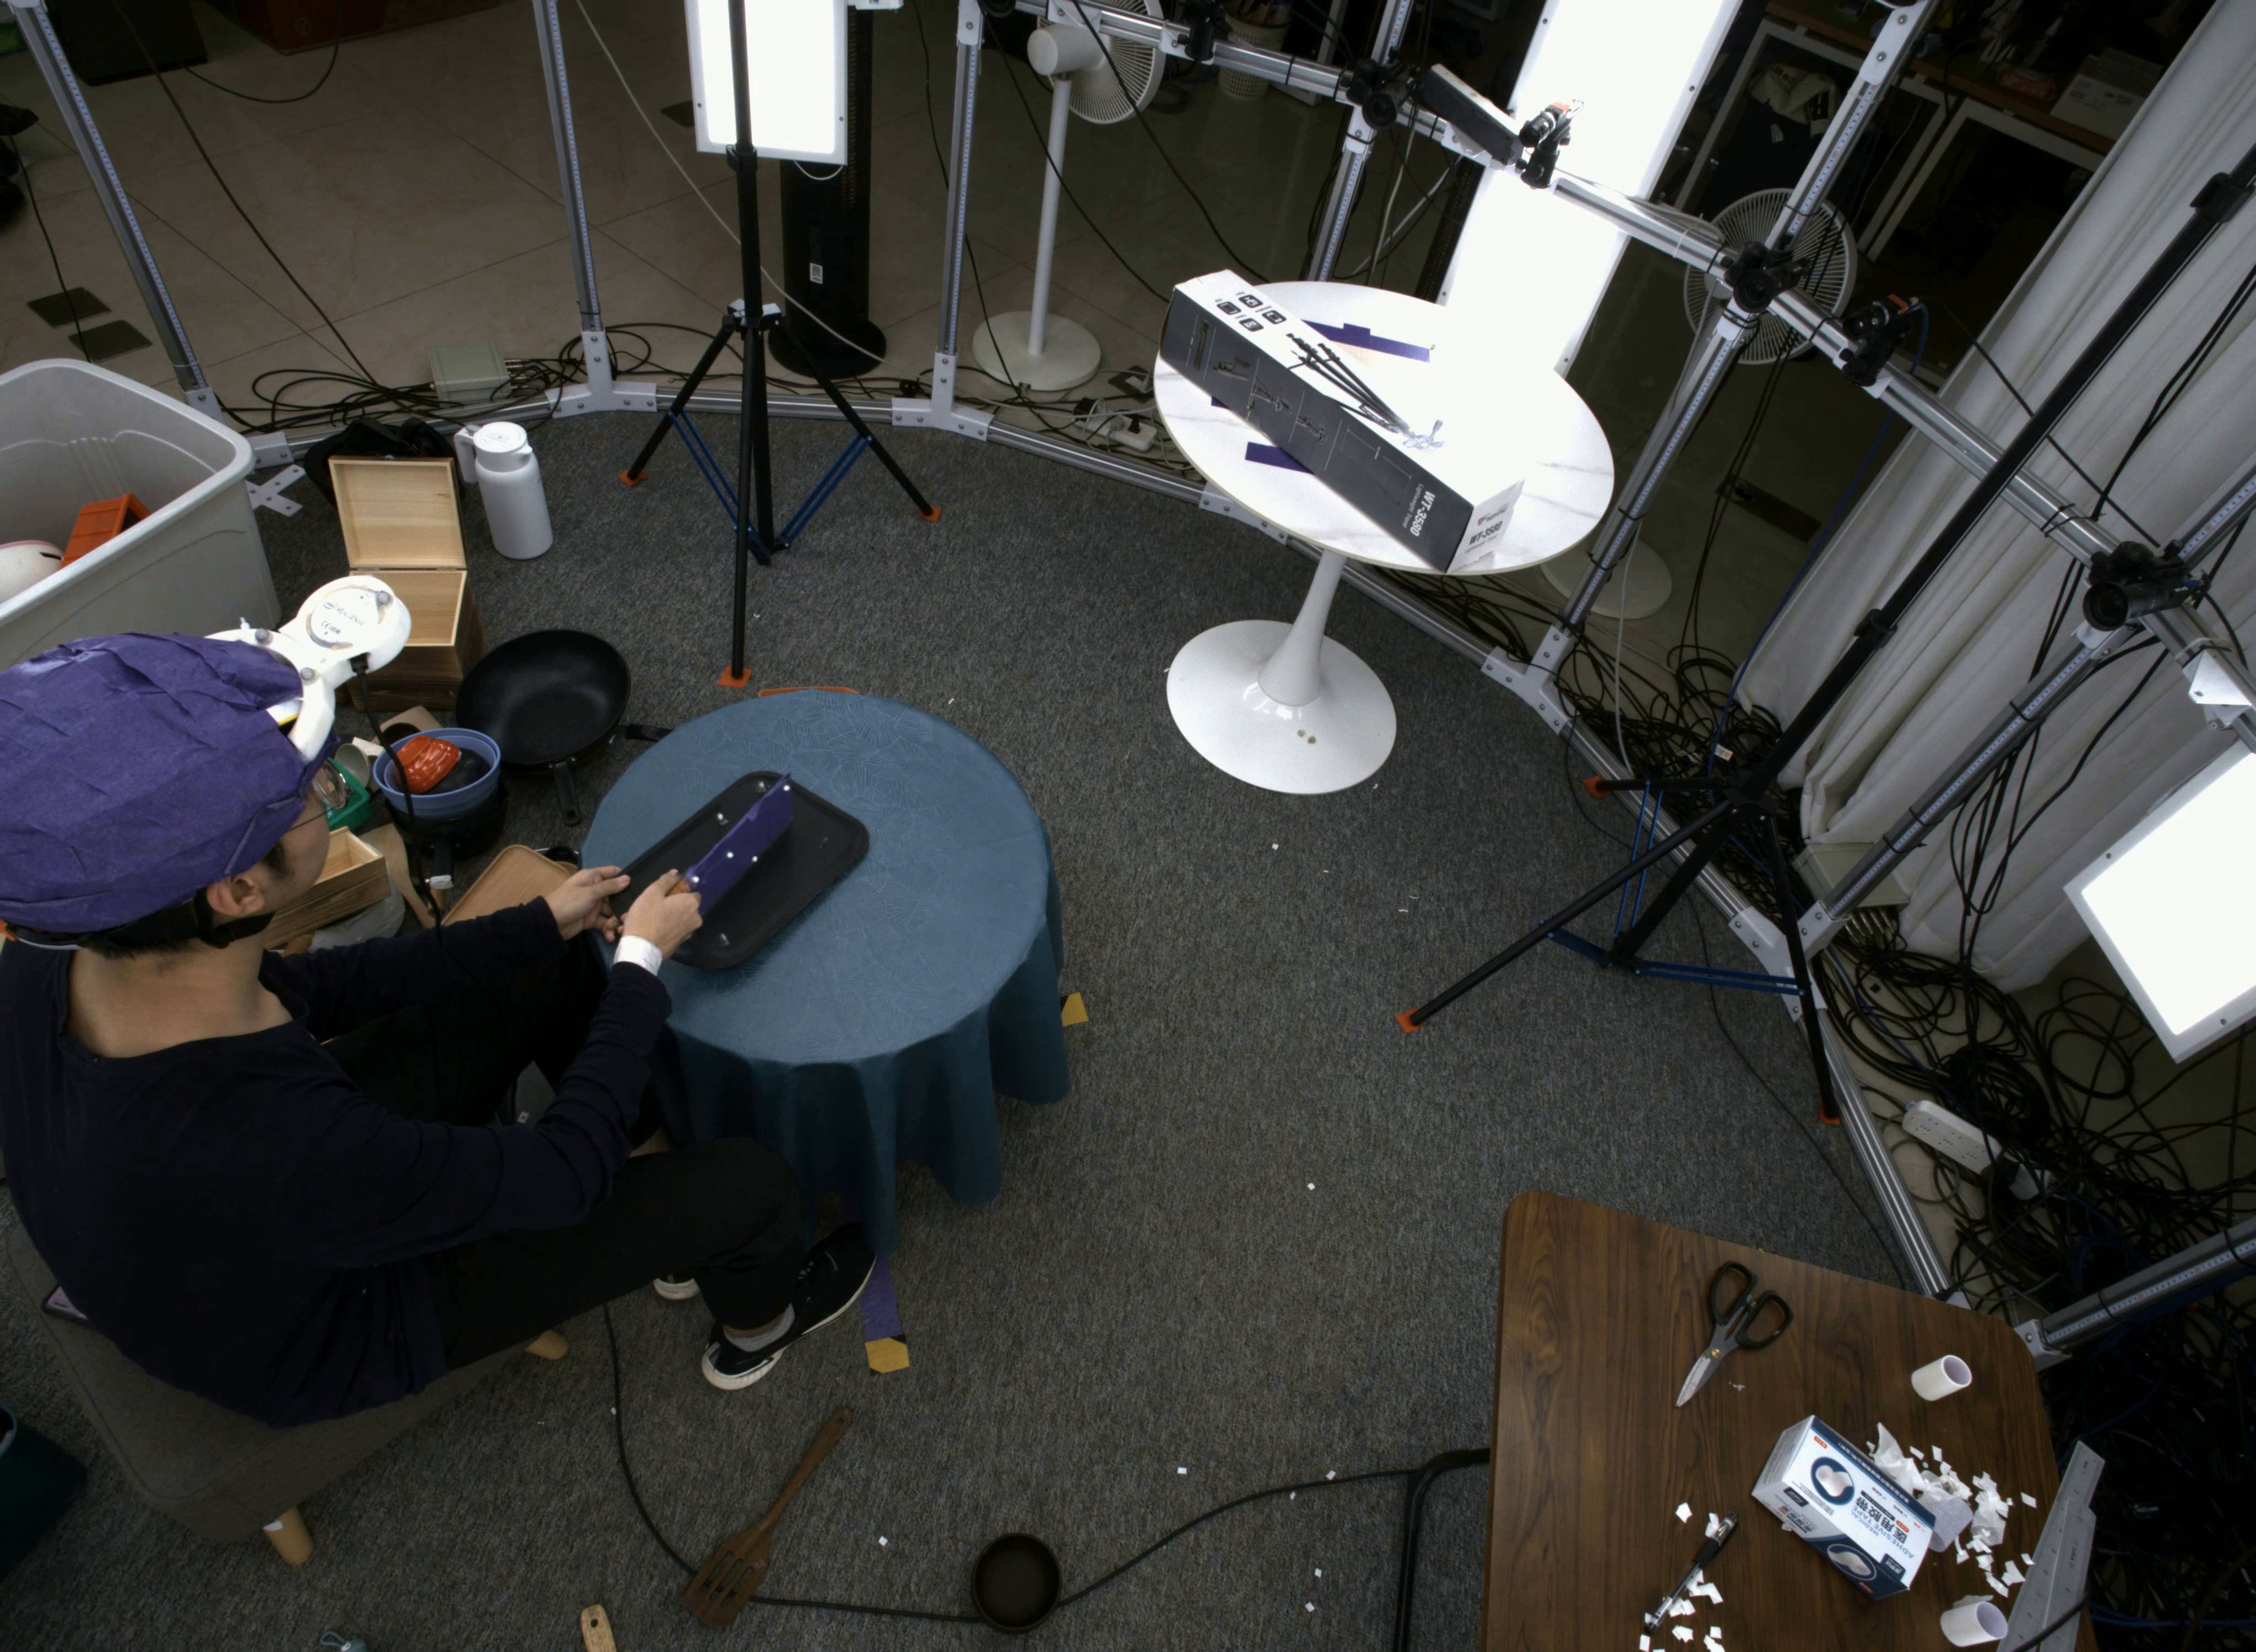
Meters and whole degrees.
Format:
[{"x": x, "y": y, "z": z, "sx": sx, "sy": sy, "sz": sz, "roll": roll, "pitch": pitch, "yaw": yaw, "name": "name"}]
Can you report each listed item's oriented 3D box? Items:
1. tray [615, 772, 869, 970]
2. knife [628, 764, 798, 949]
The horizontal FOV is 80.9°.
[{"x": -0.495, "y": 0.051, "z": 1.654, "sx": 0.207, "sy": 0.010, "sz": 0.325, "roll": 31, "pitch": 48, "yaw": 12, "name": "tray"}, {"x": -0.497, "y": 0.052, "z": 1.582, "sx": 0.031, "sy": 0.106, "sz": 0.313, "roll": 23, "pitch": 47, "yaw": 13, "name": "knife"}]
